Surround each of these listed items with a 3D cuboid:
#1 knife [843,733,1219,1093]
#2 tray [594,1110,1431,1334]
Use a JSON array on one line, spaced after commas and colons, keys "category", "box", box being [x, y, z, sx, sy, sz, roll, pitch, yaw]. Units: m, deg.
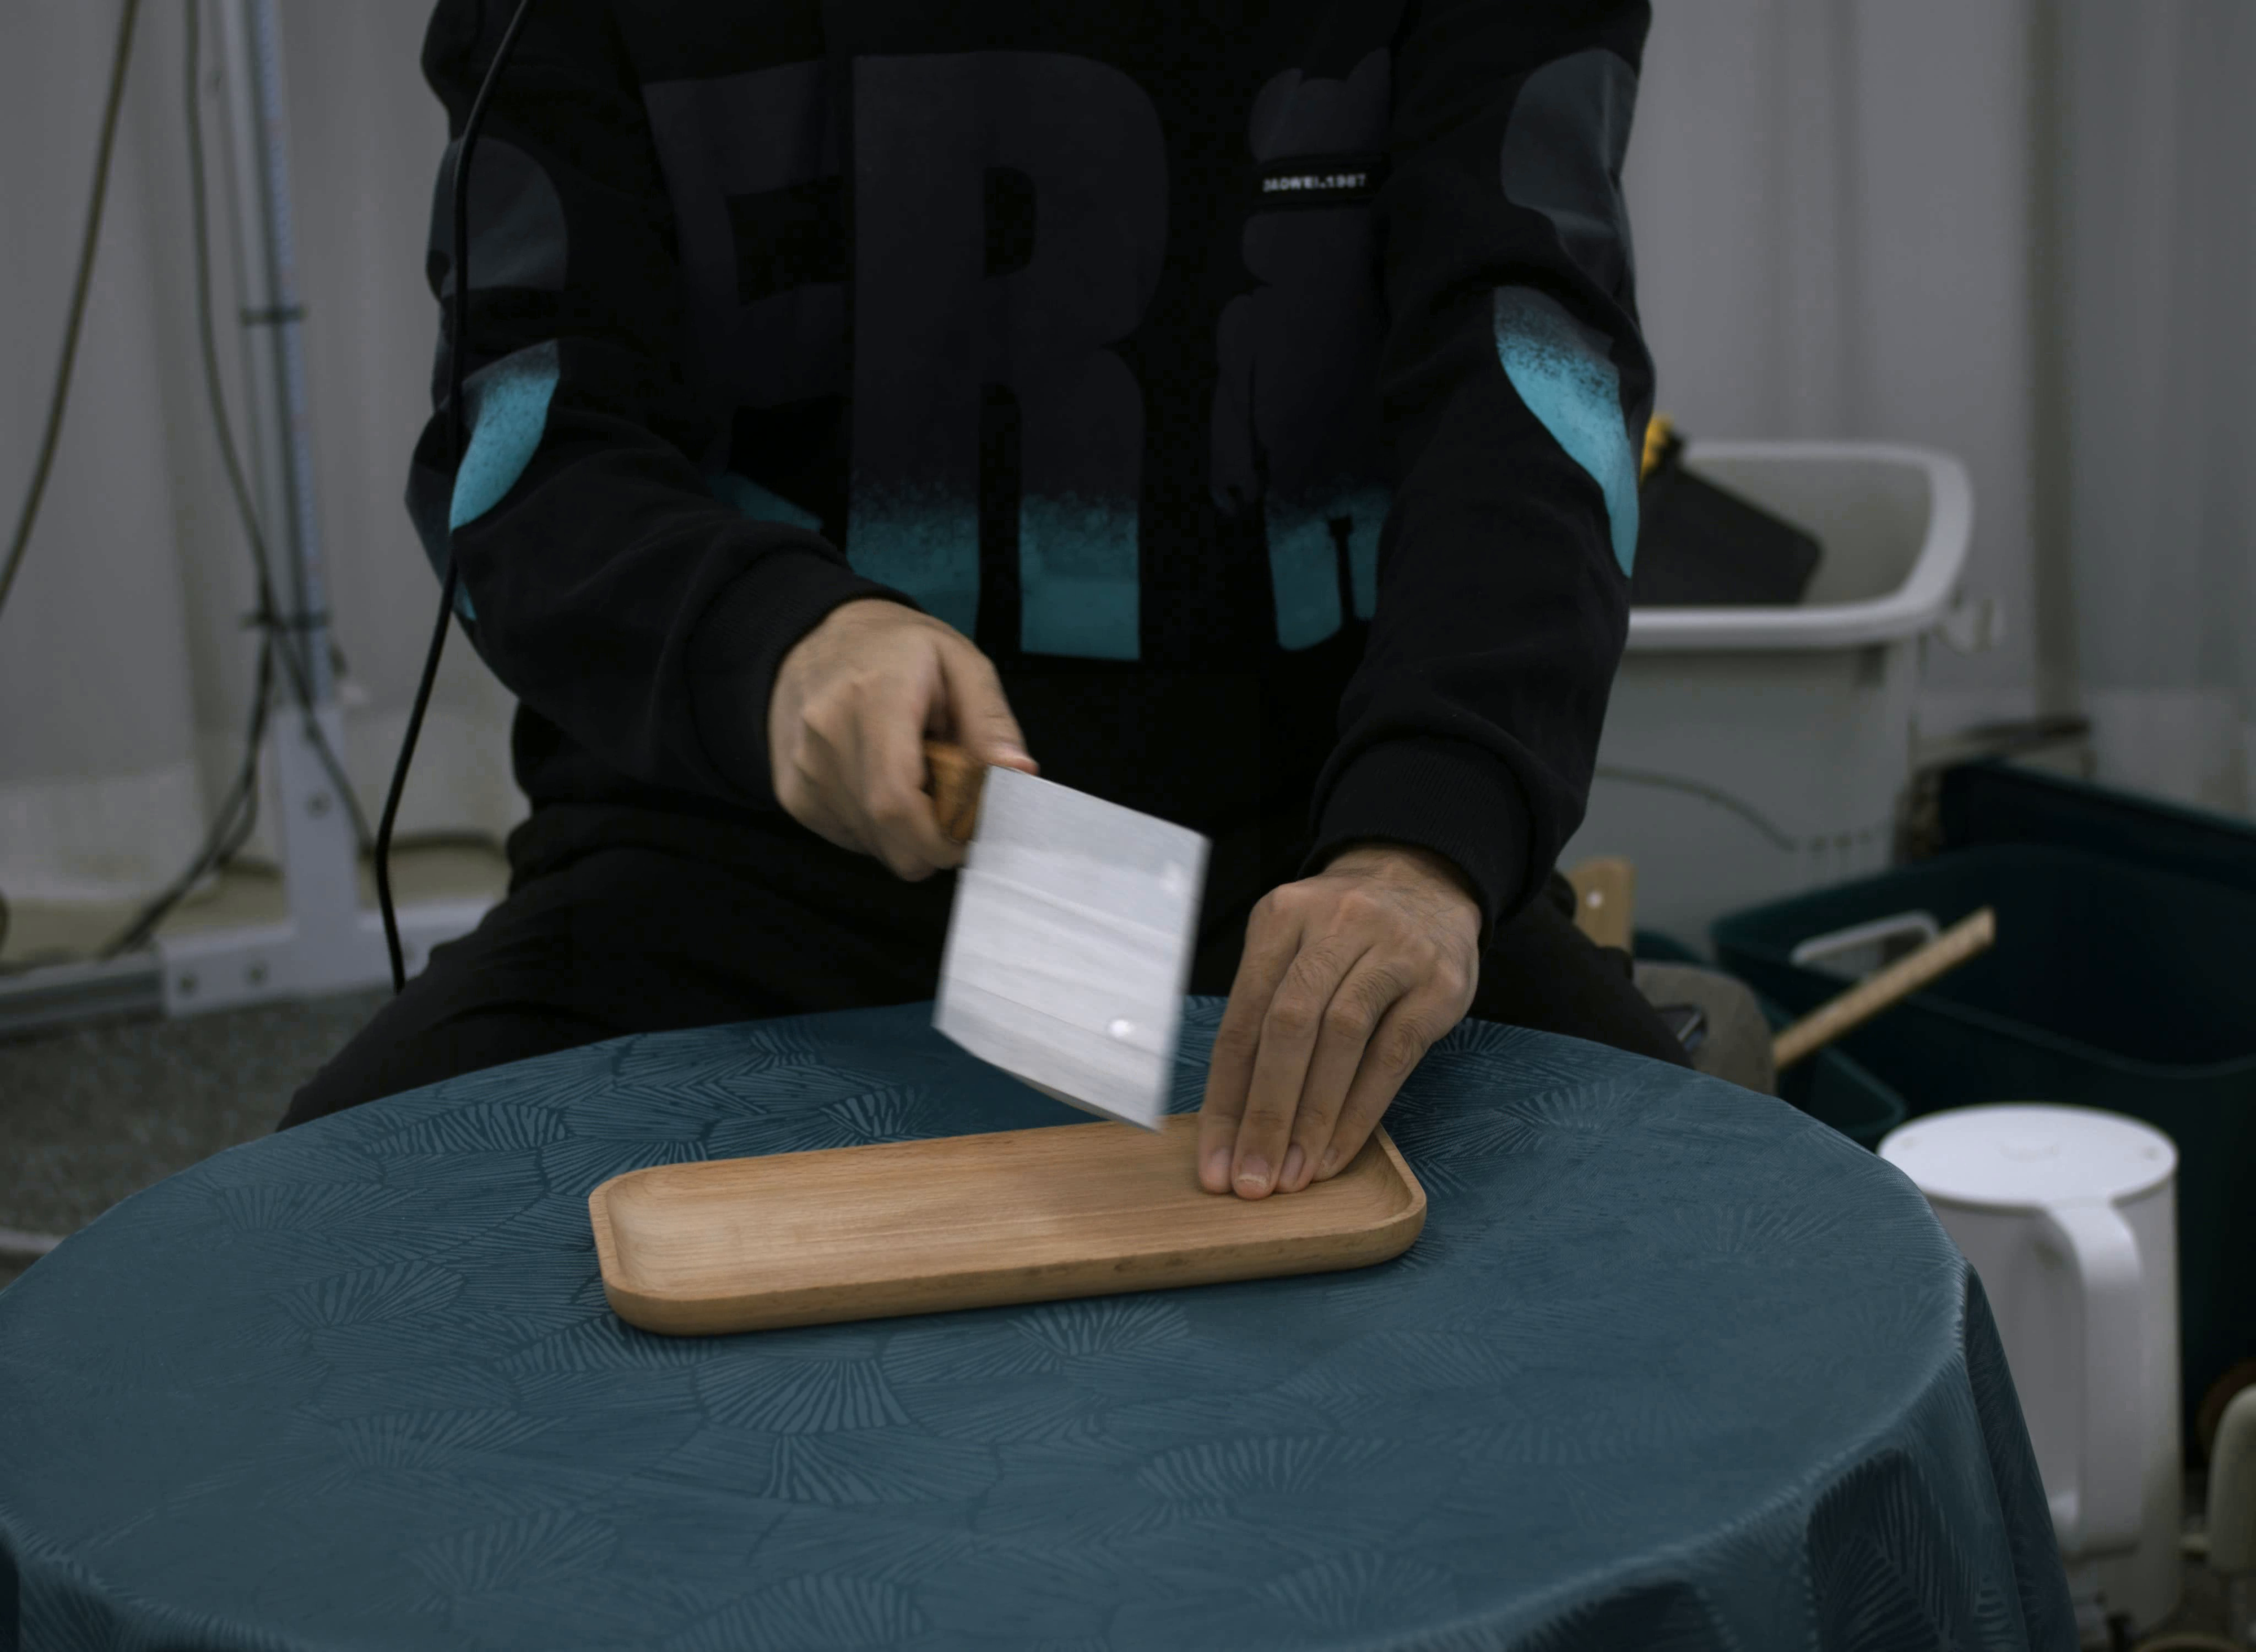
[{"category": "knife", "box": [-0.035, 0.027, 1.728, 0.021, 0.093, 0.307, 6, 6, -23]}, {"category": "tray", "box": [-0.037, 0.121, 1.671, 0.249, 0.023, 0.131, -4, 17, -6]}]
